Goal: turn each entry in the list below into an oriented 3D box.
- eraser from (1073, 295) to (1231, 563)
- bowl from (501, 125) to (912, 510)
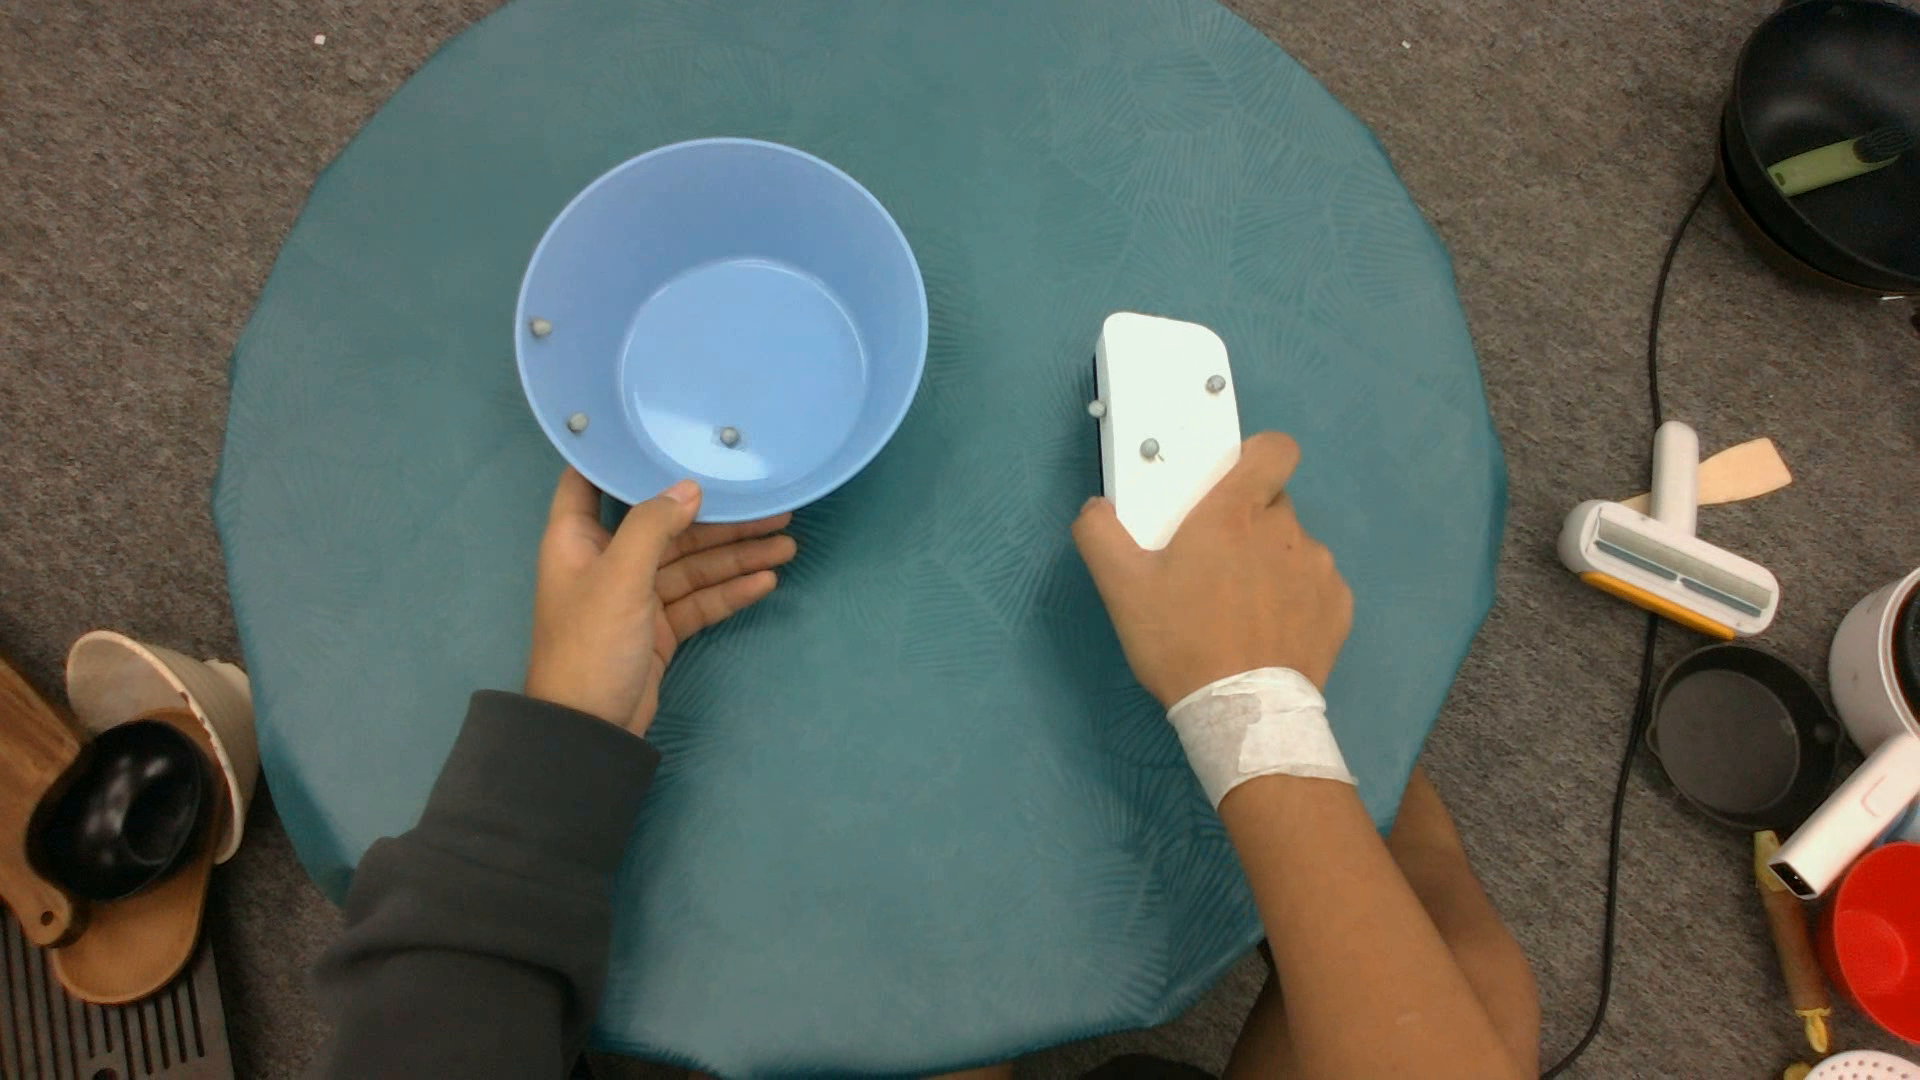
[{"bbox_3d":[0.082,-0.053,0.615,0.063,0.034,0.132,7,59,-12],"label":"eraser"},{"bbox_3d":[-0.108,-0.091,0.619,0.176,0.070,0.176,0,77,-1],"label":"bowl"}]
